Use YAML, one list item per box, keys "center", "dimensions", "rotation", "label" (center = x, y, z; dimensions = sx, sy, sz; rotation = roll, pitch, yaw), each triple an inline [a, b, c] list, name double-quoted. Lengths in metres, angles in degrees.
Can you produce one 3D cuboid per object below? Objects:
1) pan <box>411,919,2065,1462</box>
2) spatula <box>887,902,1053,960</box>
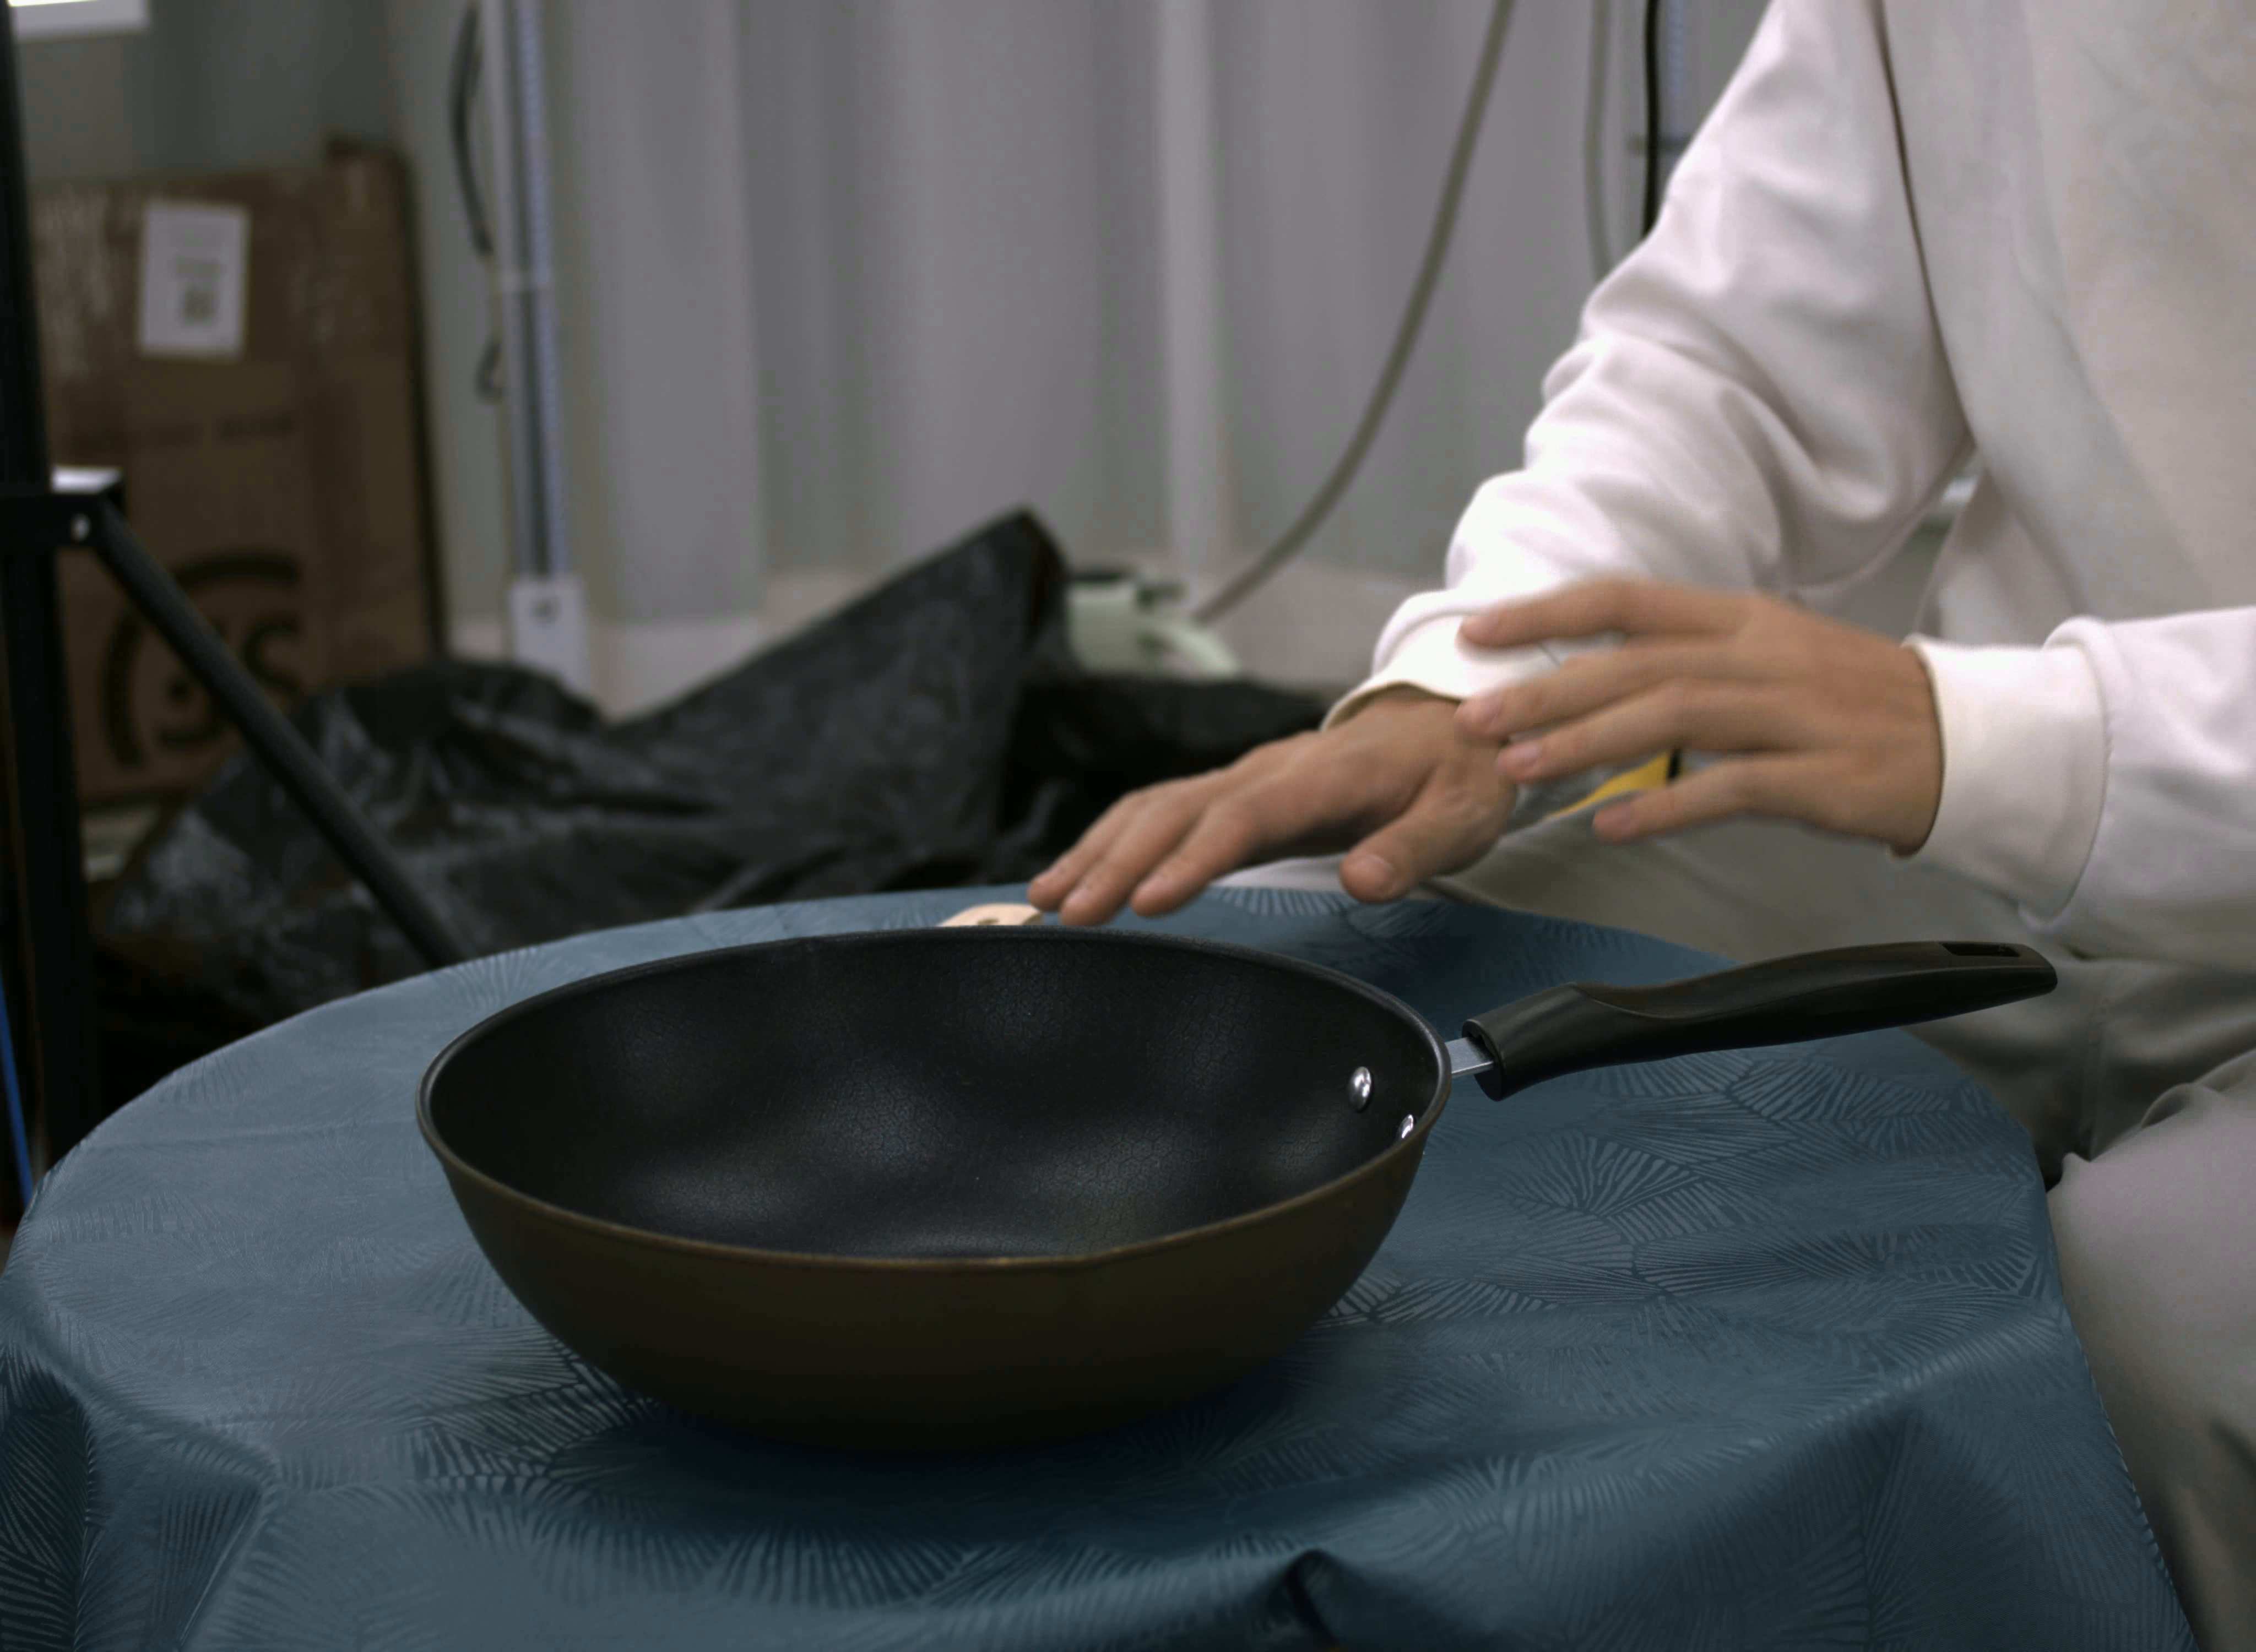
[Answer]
- center: [0.036, 0.095, 1.450]
  dimensions: [0.456, 0.087, 0.292]
  rotation: [-5, 17, -13]
  label: "pan"
- center: [-0.104, 0.067, 1.706]
  dimensions: [0.073, 0.010, 0.288]
  rotation: [5, 18, 29]
  label: "spatula"
